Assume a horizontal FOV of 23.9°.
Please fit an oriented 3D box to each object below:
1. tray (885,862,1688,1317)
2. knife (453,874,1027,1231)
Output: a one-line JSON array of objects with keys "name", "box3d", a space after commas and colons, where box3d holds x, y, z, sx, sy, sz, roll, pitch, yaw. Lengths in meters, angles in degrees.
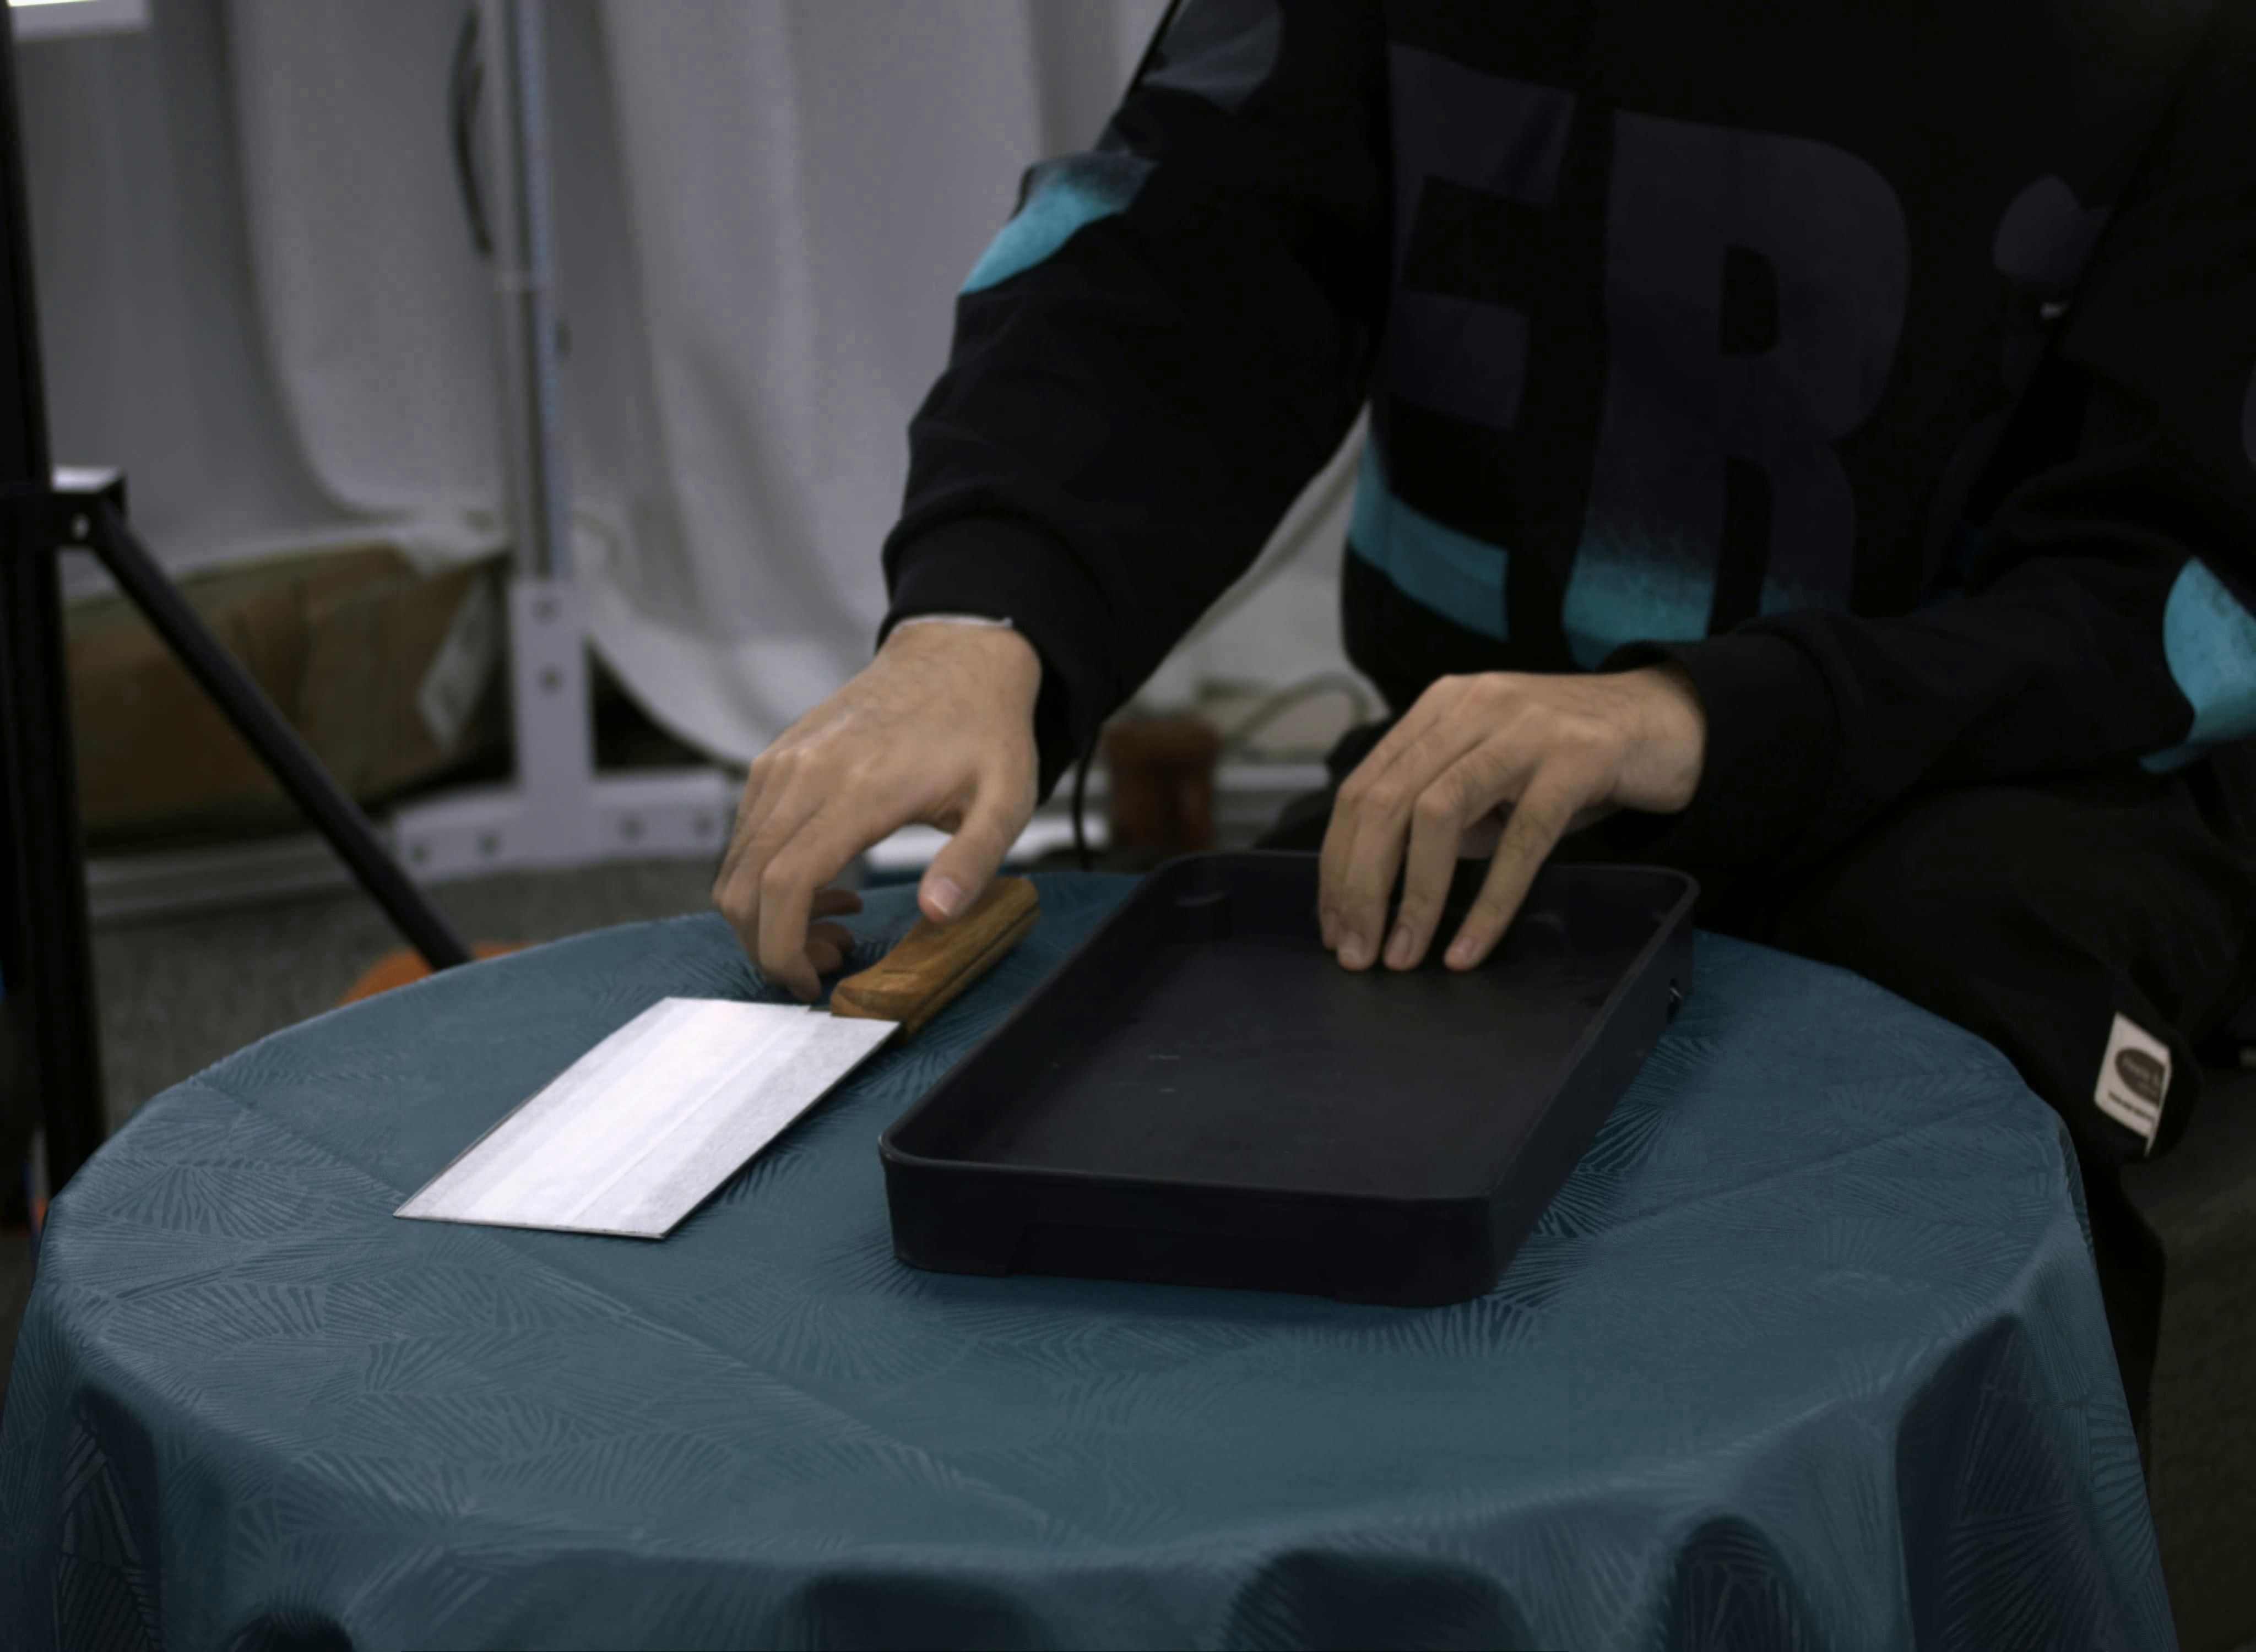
[{"name": "tray", "box3d": [0.056, 0.073, 1.606, 0.186, 0.037, 0.315, 2, 16, 16]}, {"name": "knife", "box3d": [-0.121, 0.070, 1.685, 0.094, 0.021, 0.302, 2, 19, 21]}]
